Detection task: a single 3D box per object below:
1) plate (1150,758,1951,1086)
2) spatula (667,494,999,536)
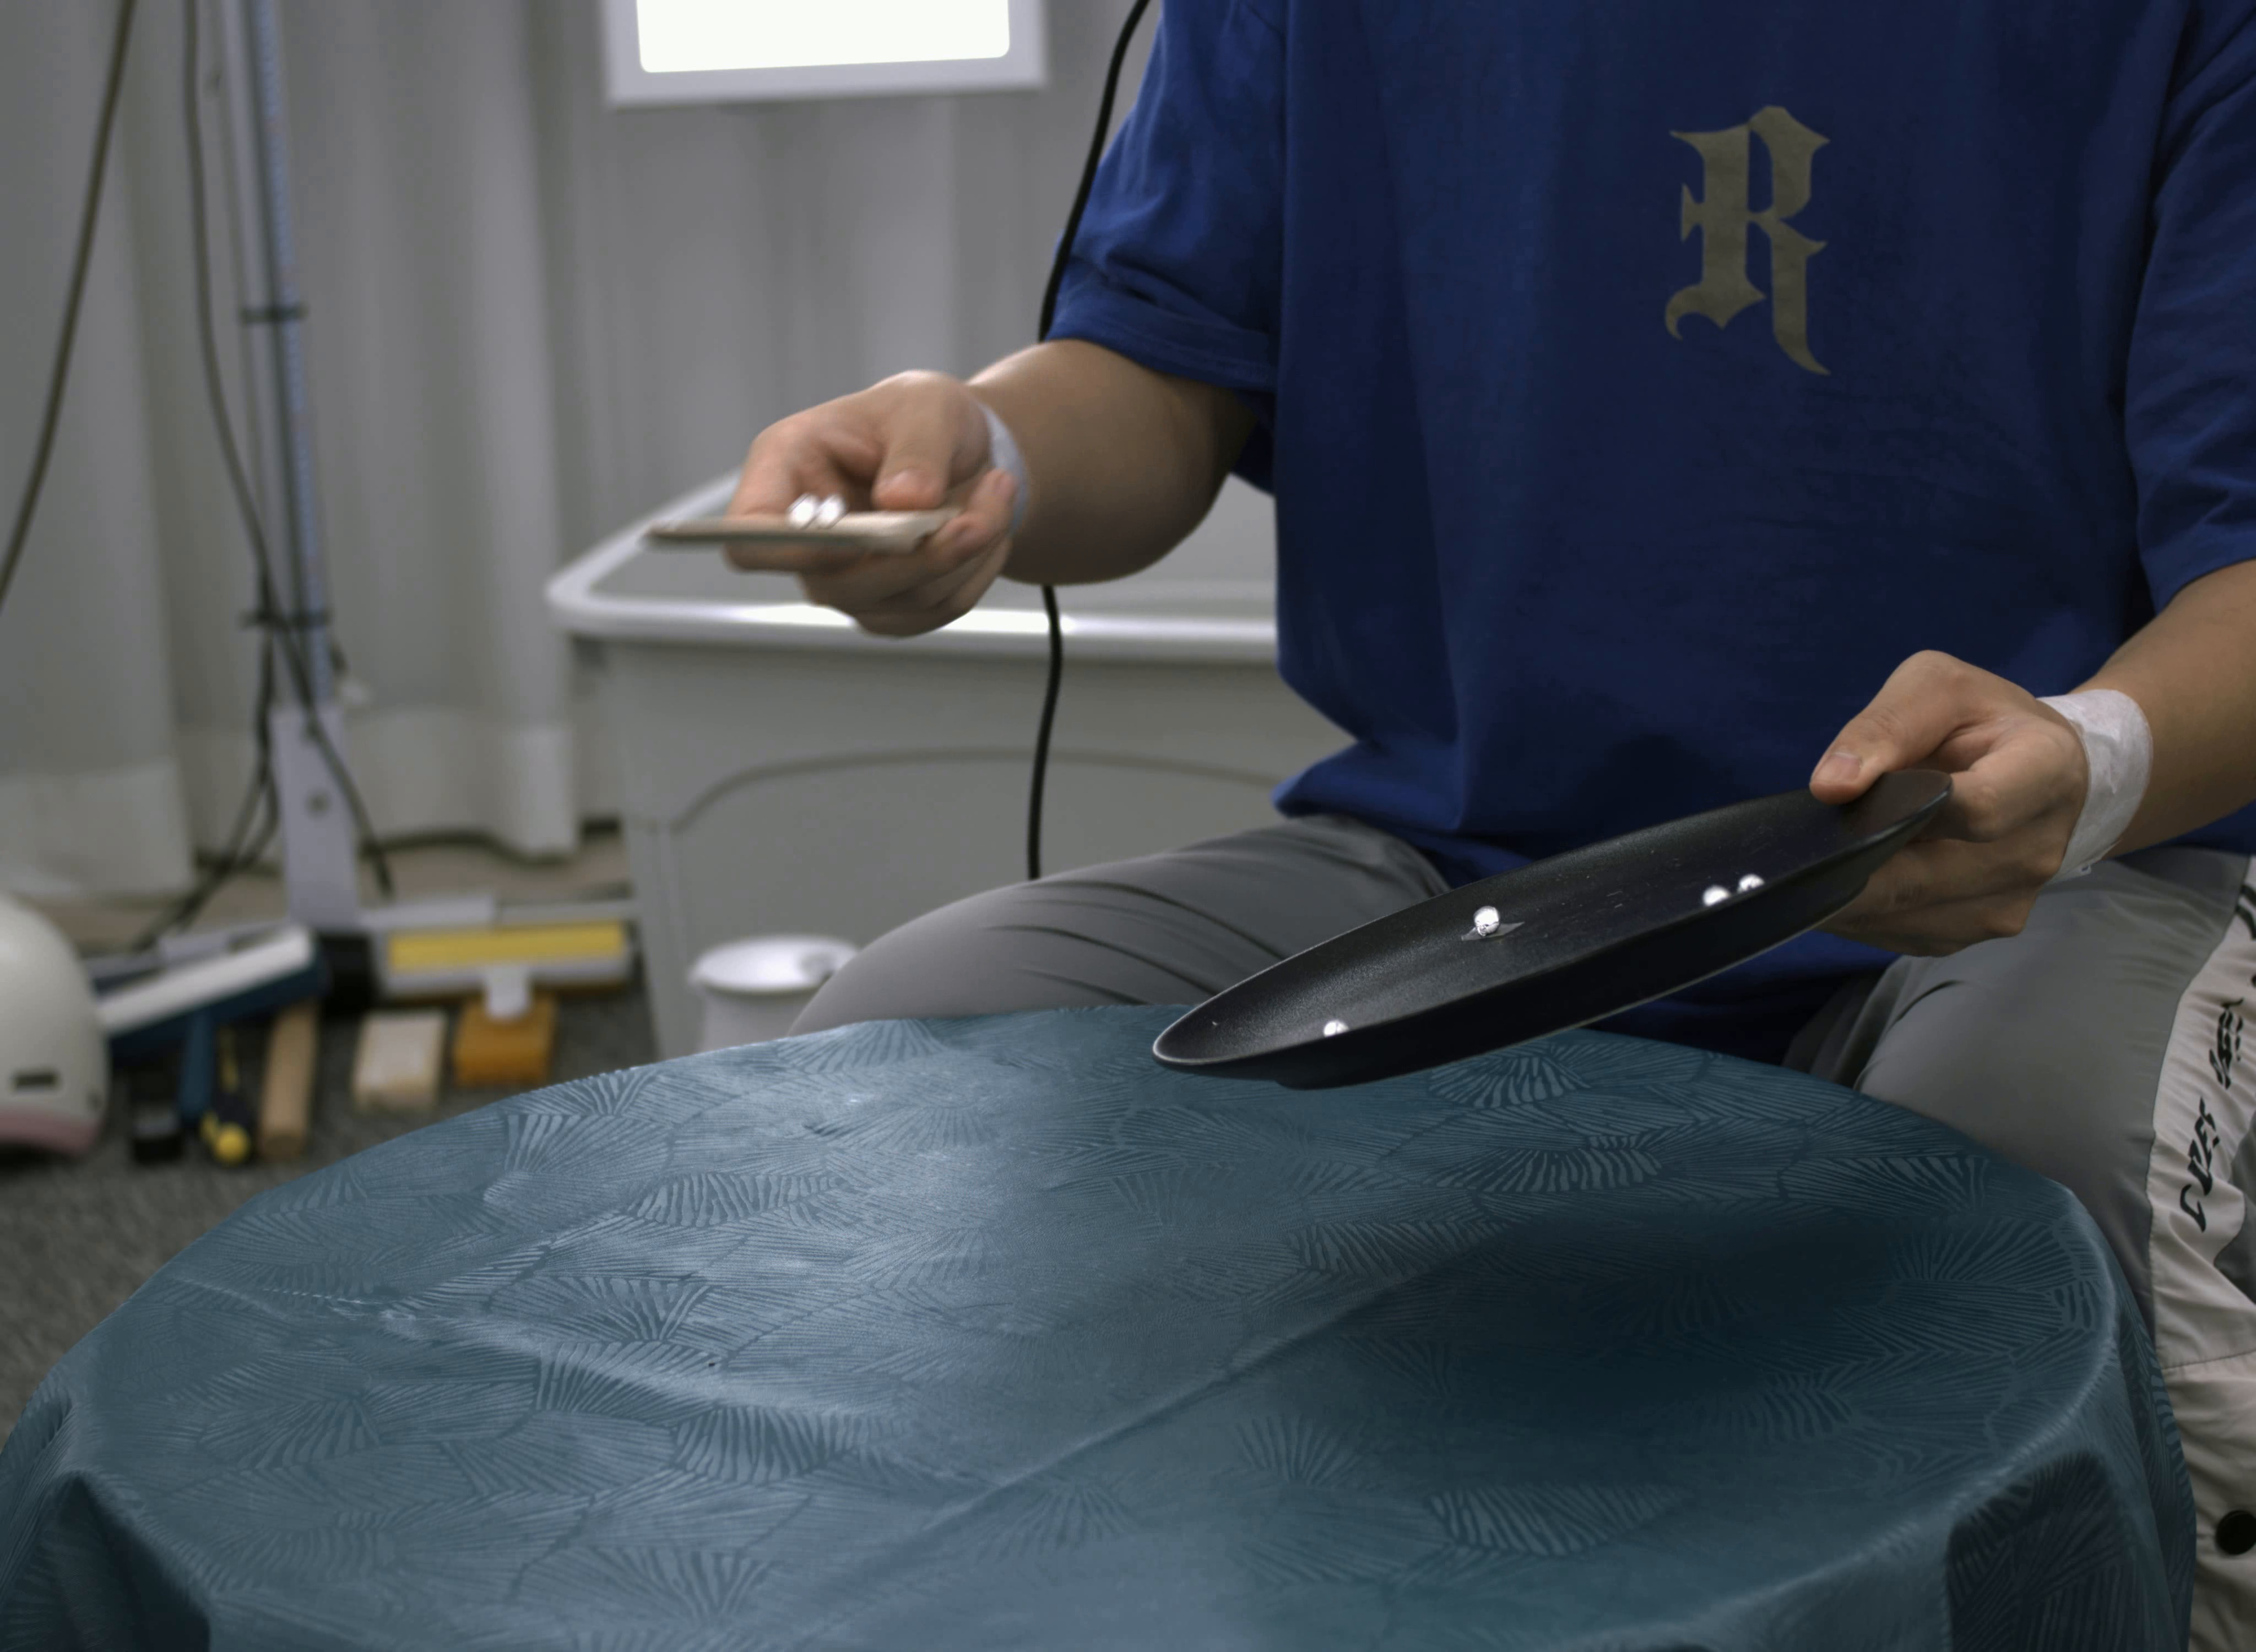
[{"bbox_3d":[0.124,0.033,1.573,0.244,0.023,0.245,-20,5,1],"label":"plate"},{"bbox_3d":[-0.080,-0.098,1.733,0.072,0.010,0.293,0,4,9],"label":"spatula"}]
